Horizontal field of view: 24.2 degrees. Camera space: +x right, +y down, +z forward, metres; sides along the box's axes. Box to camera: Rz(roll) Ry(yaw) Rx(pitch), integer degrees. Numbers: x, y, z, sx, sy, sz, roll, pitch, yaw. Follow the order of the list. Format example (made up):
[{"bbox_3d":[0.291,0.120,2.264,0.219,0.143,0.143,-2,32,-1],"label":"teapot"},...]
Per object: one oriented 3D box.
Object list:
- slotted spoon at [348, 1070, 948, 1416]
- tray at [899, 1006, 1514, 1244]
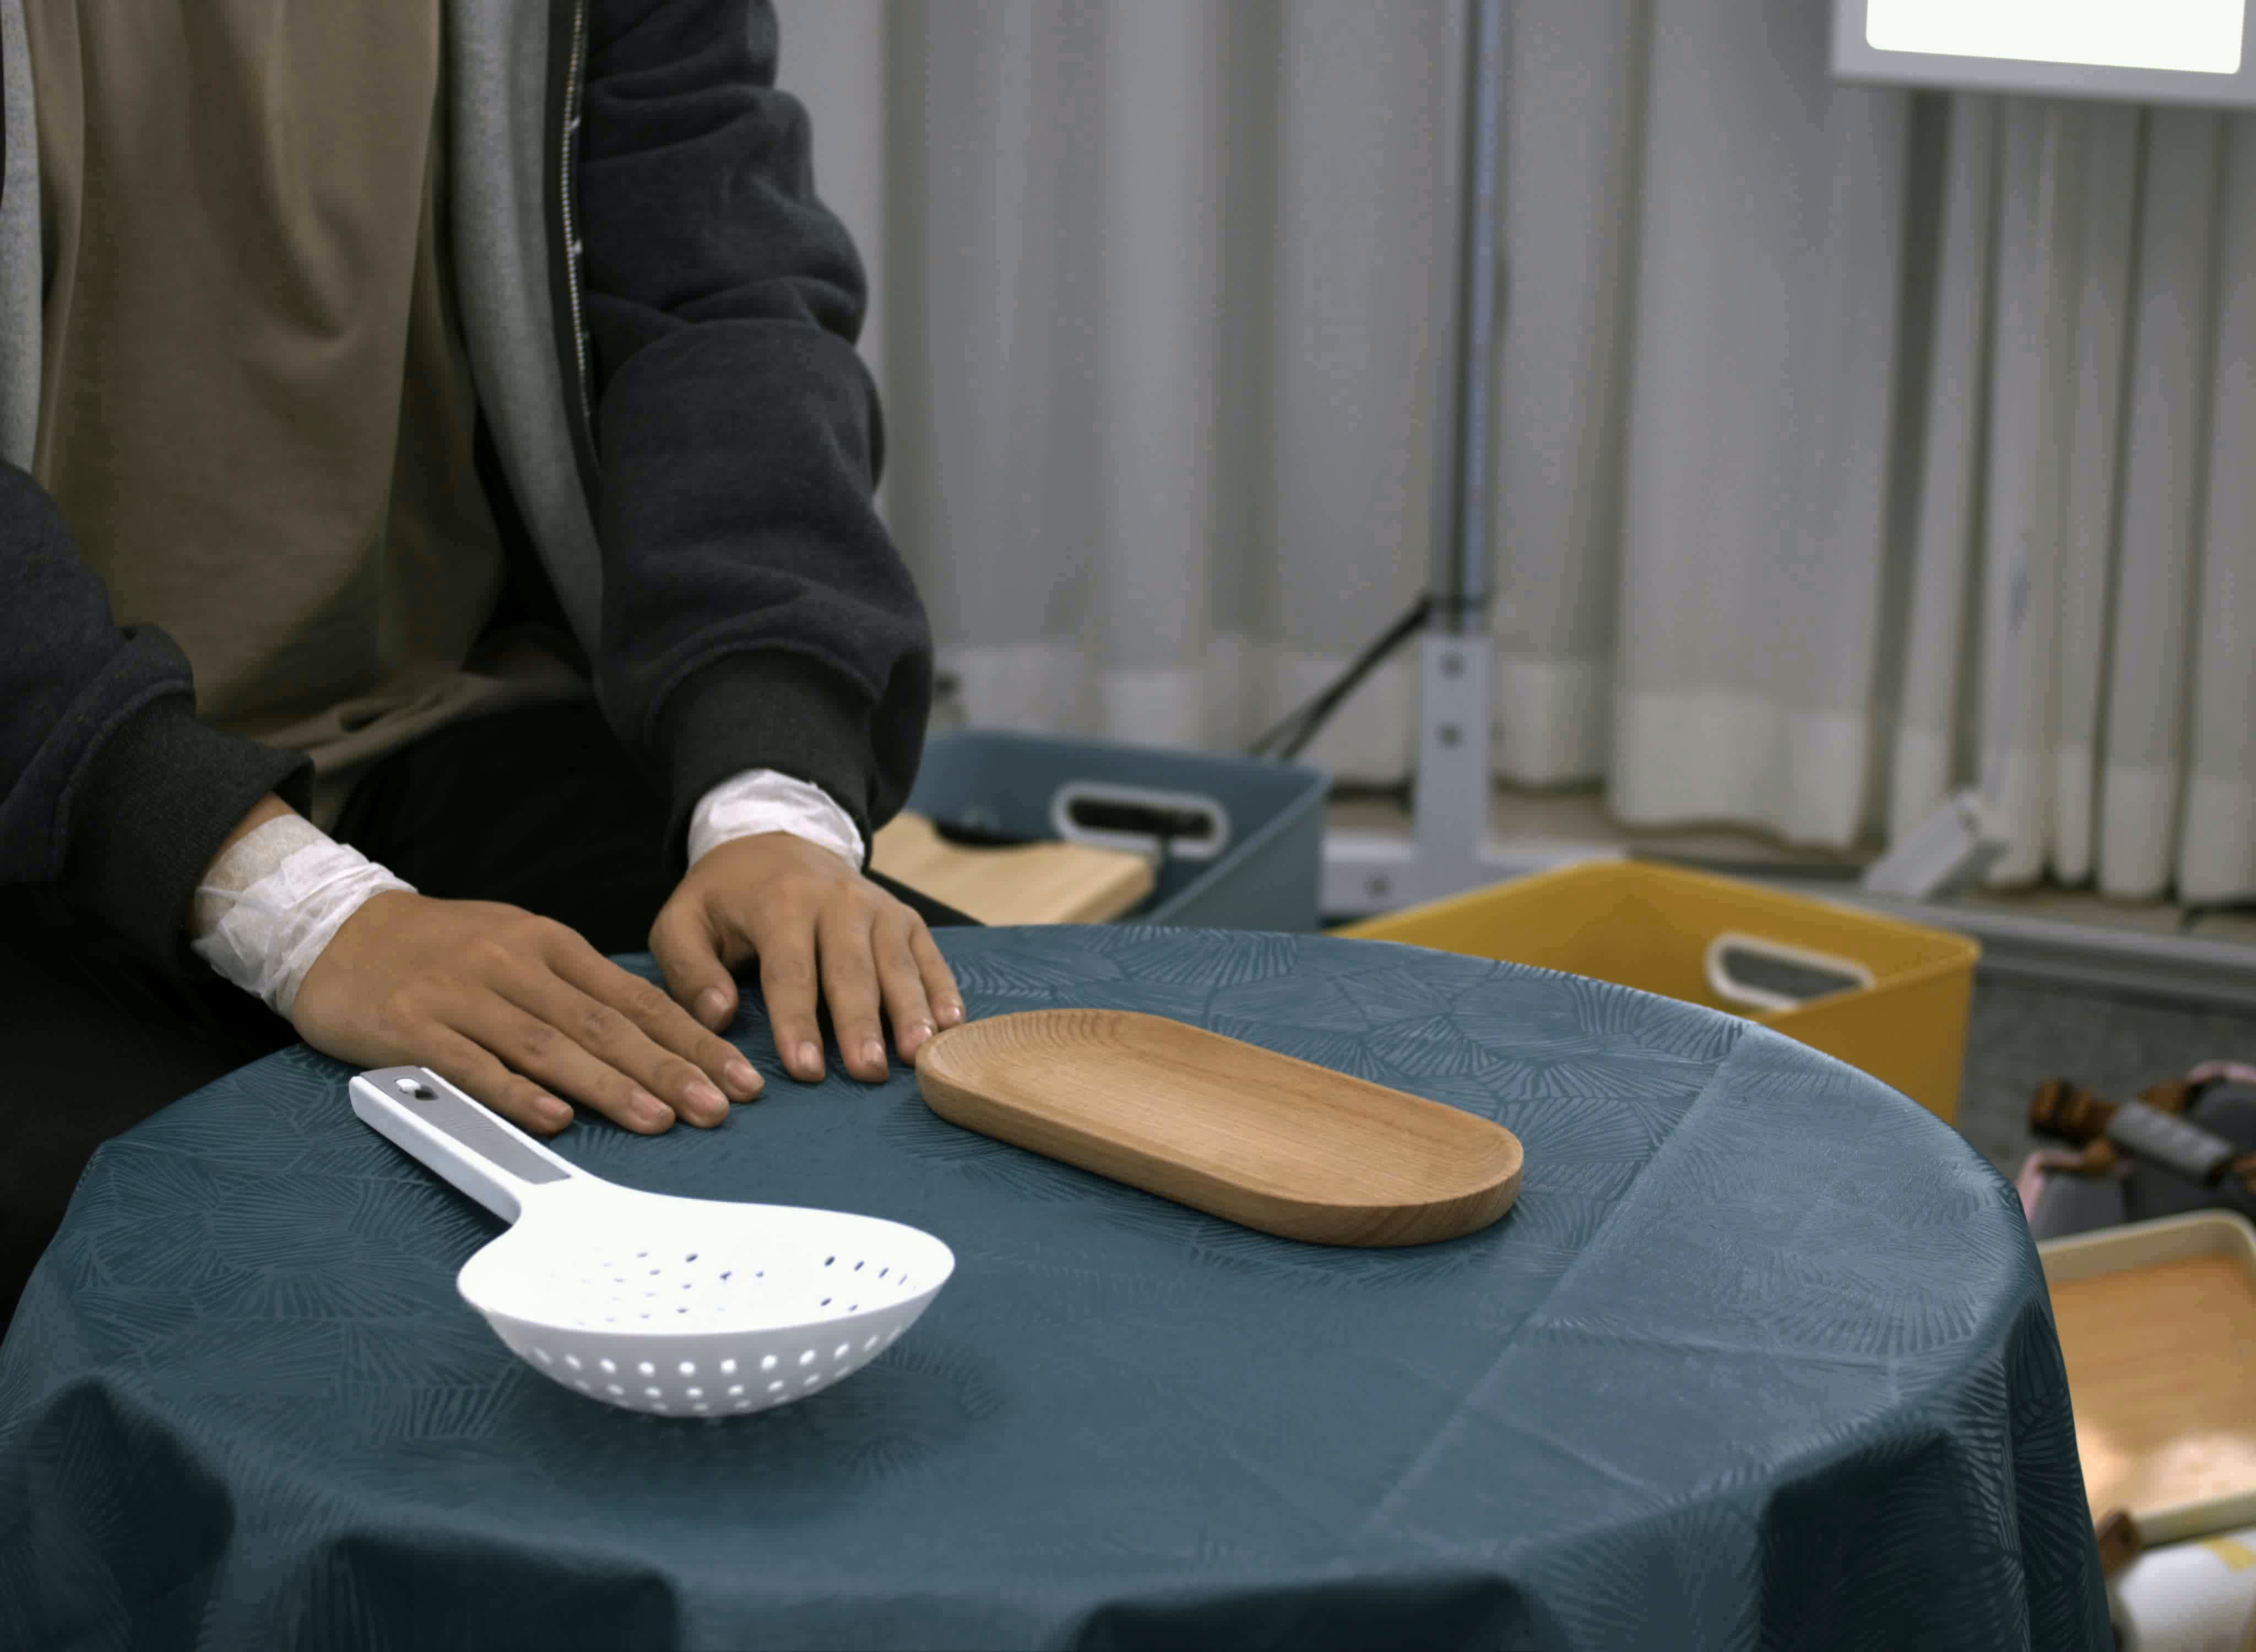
[{"bbox_3d":[-0.164,0.112,1.533,0.136,0.046,0.345,-5,15,-26],"label":"slotted spoon"},{"bbox_3d":[0.022,0.093,1.662,0.228,0.020,0.102,14,19,43],"label":"tray"}]
